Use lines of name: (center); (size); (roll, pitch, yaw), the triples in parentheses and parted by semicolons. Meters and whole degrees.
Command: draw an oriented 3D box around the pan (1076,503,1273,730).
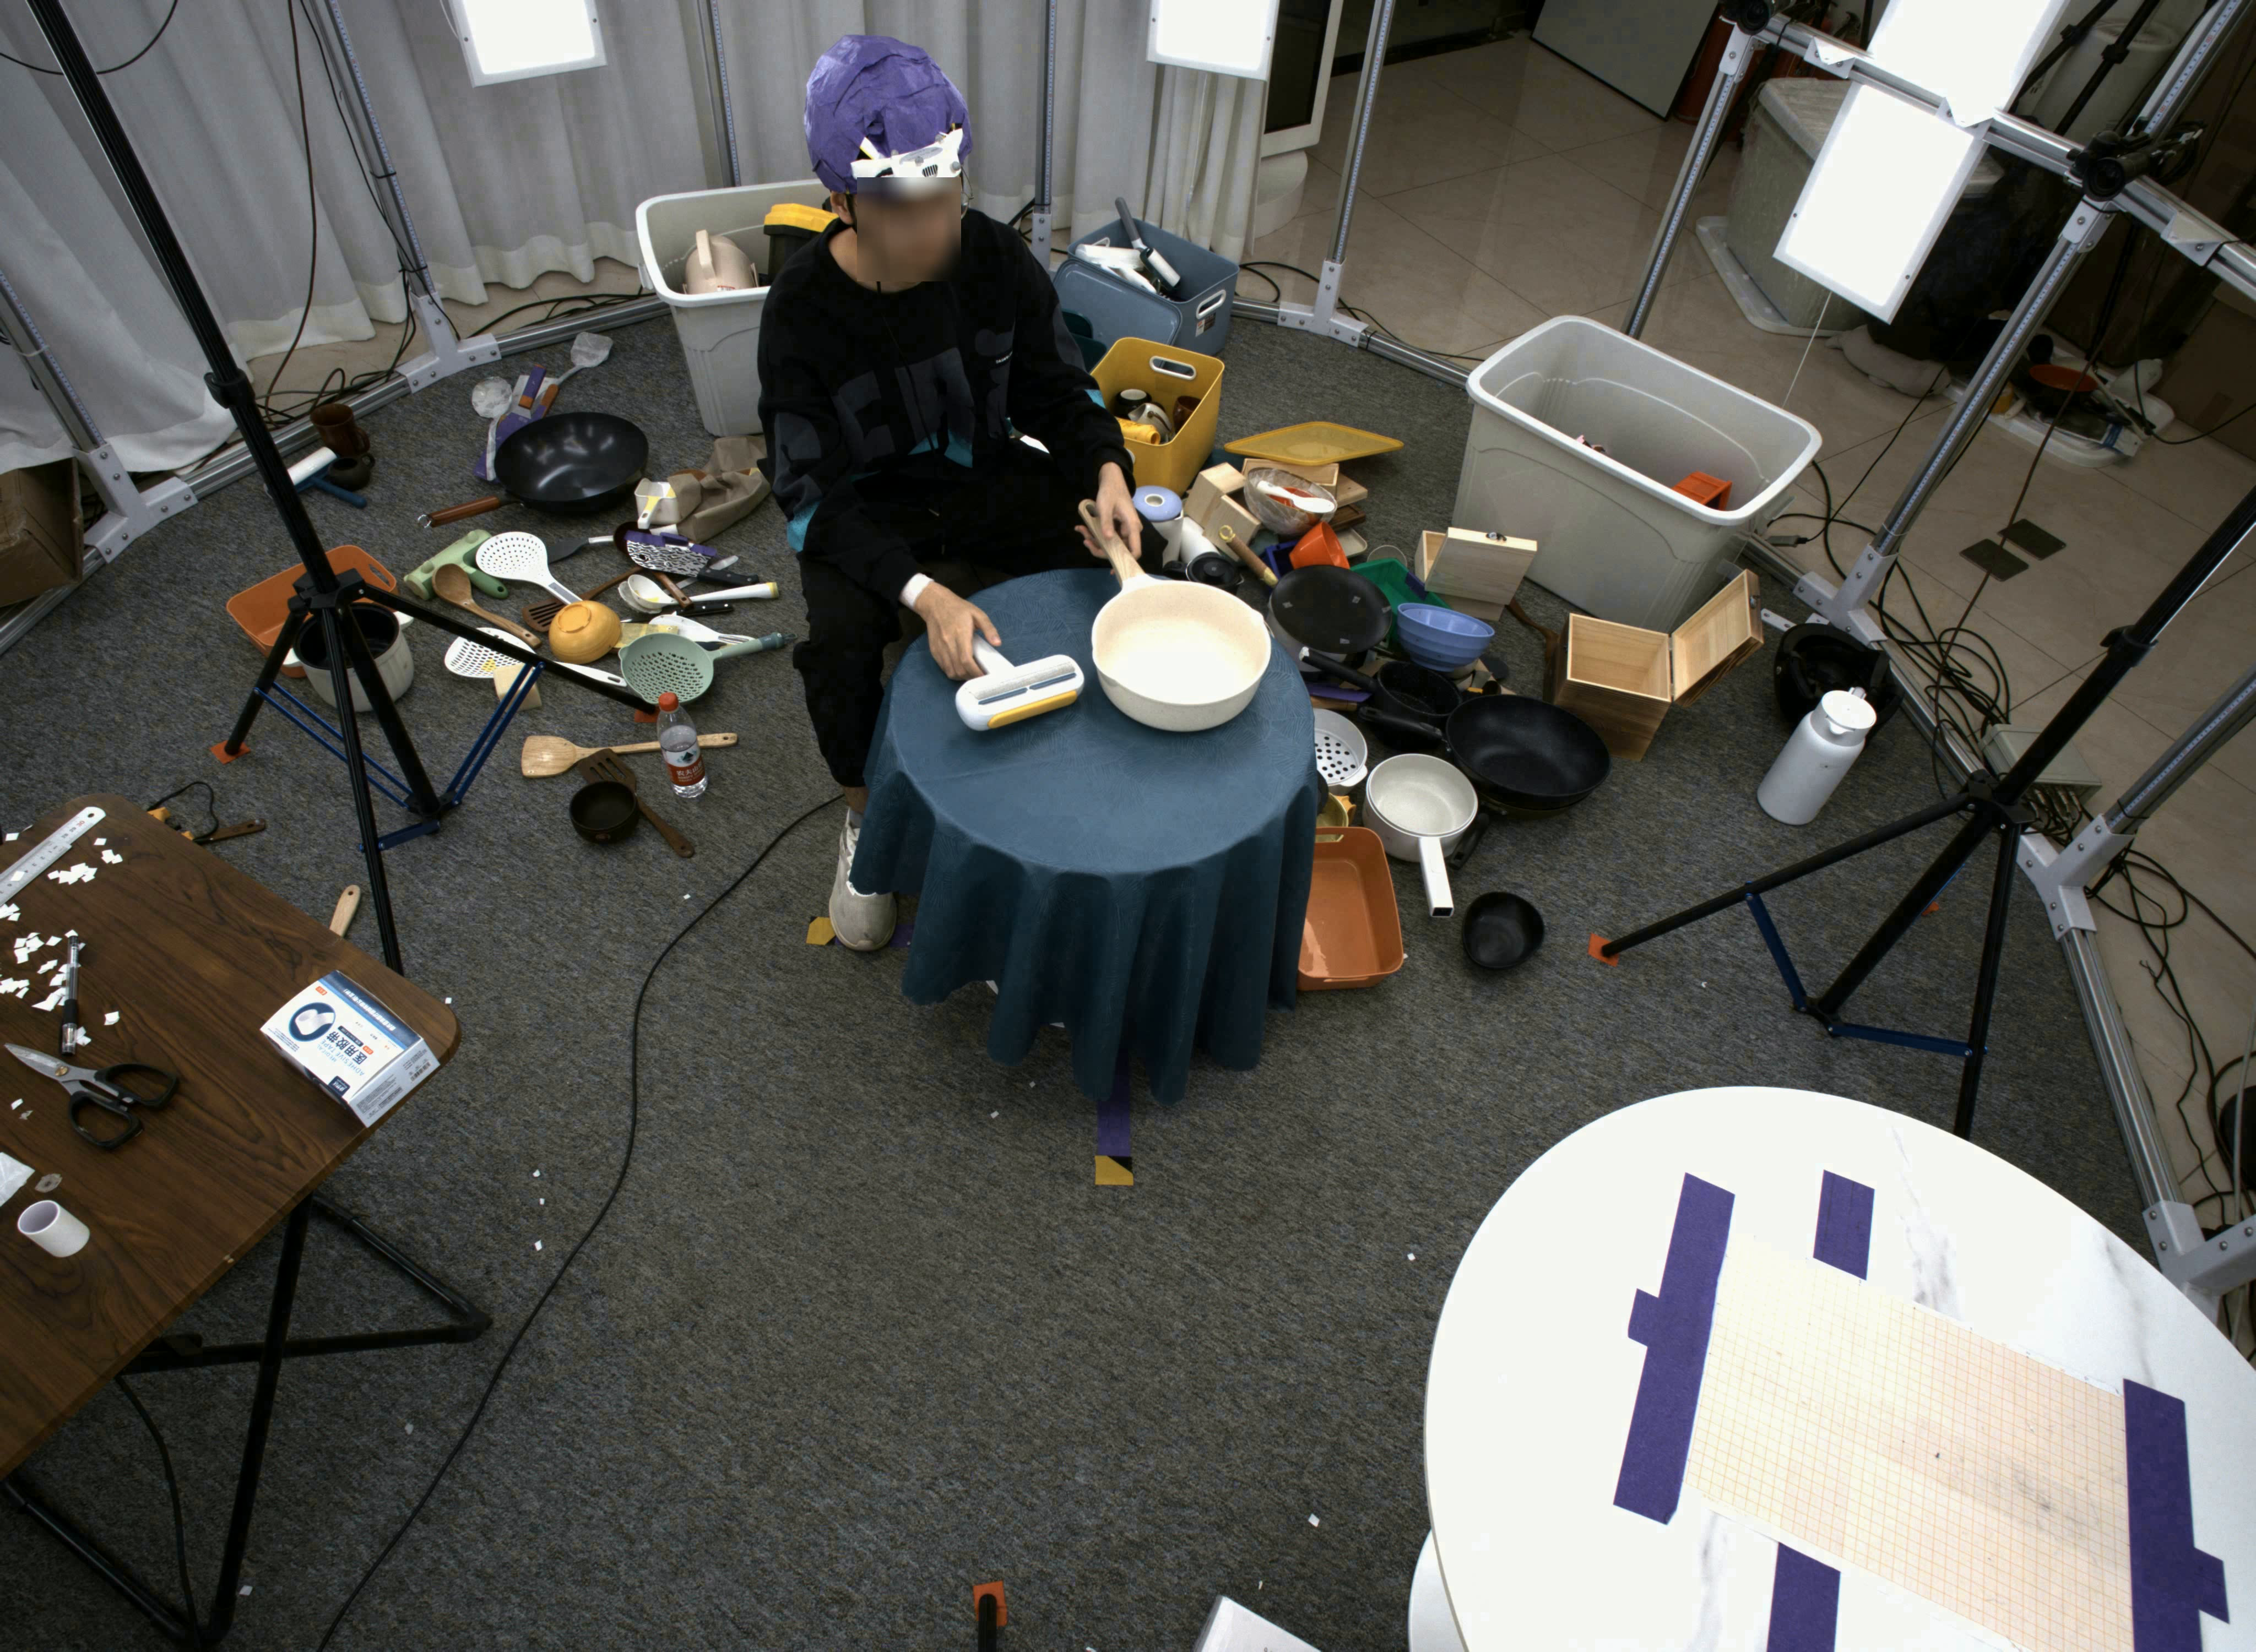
pan: (0.034, -0.308, 1.872); (0.264, 0.099, 0.444); (-21, 54, -18)

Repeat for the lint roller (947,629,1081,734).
lint roller: (-0.184, -0.219, 1.795); (0.193, 0.072, 0.196); (-19, 58, -26)
